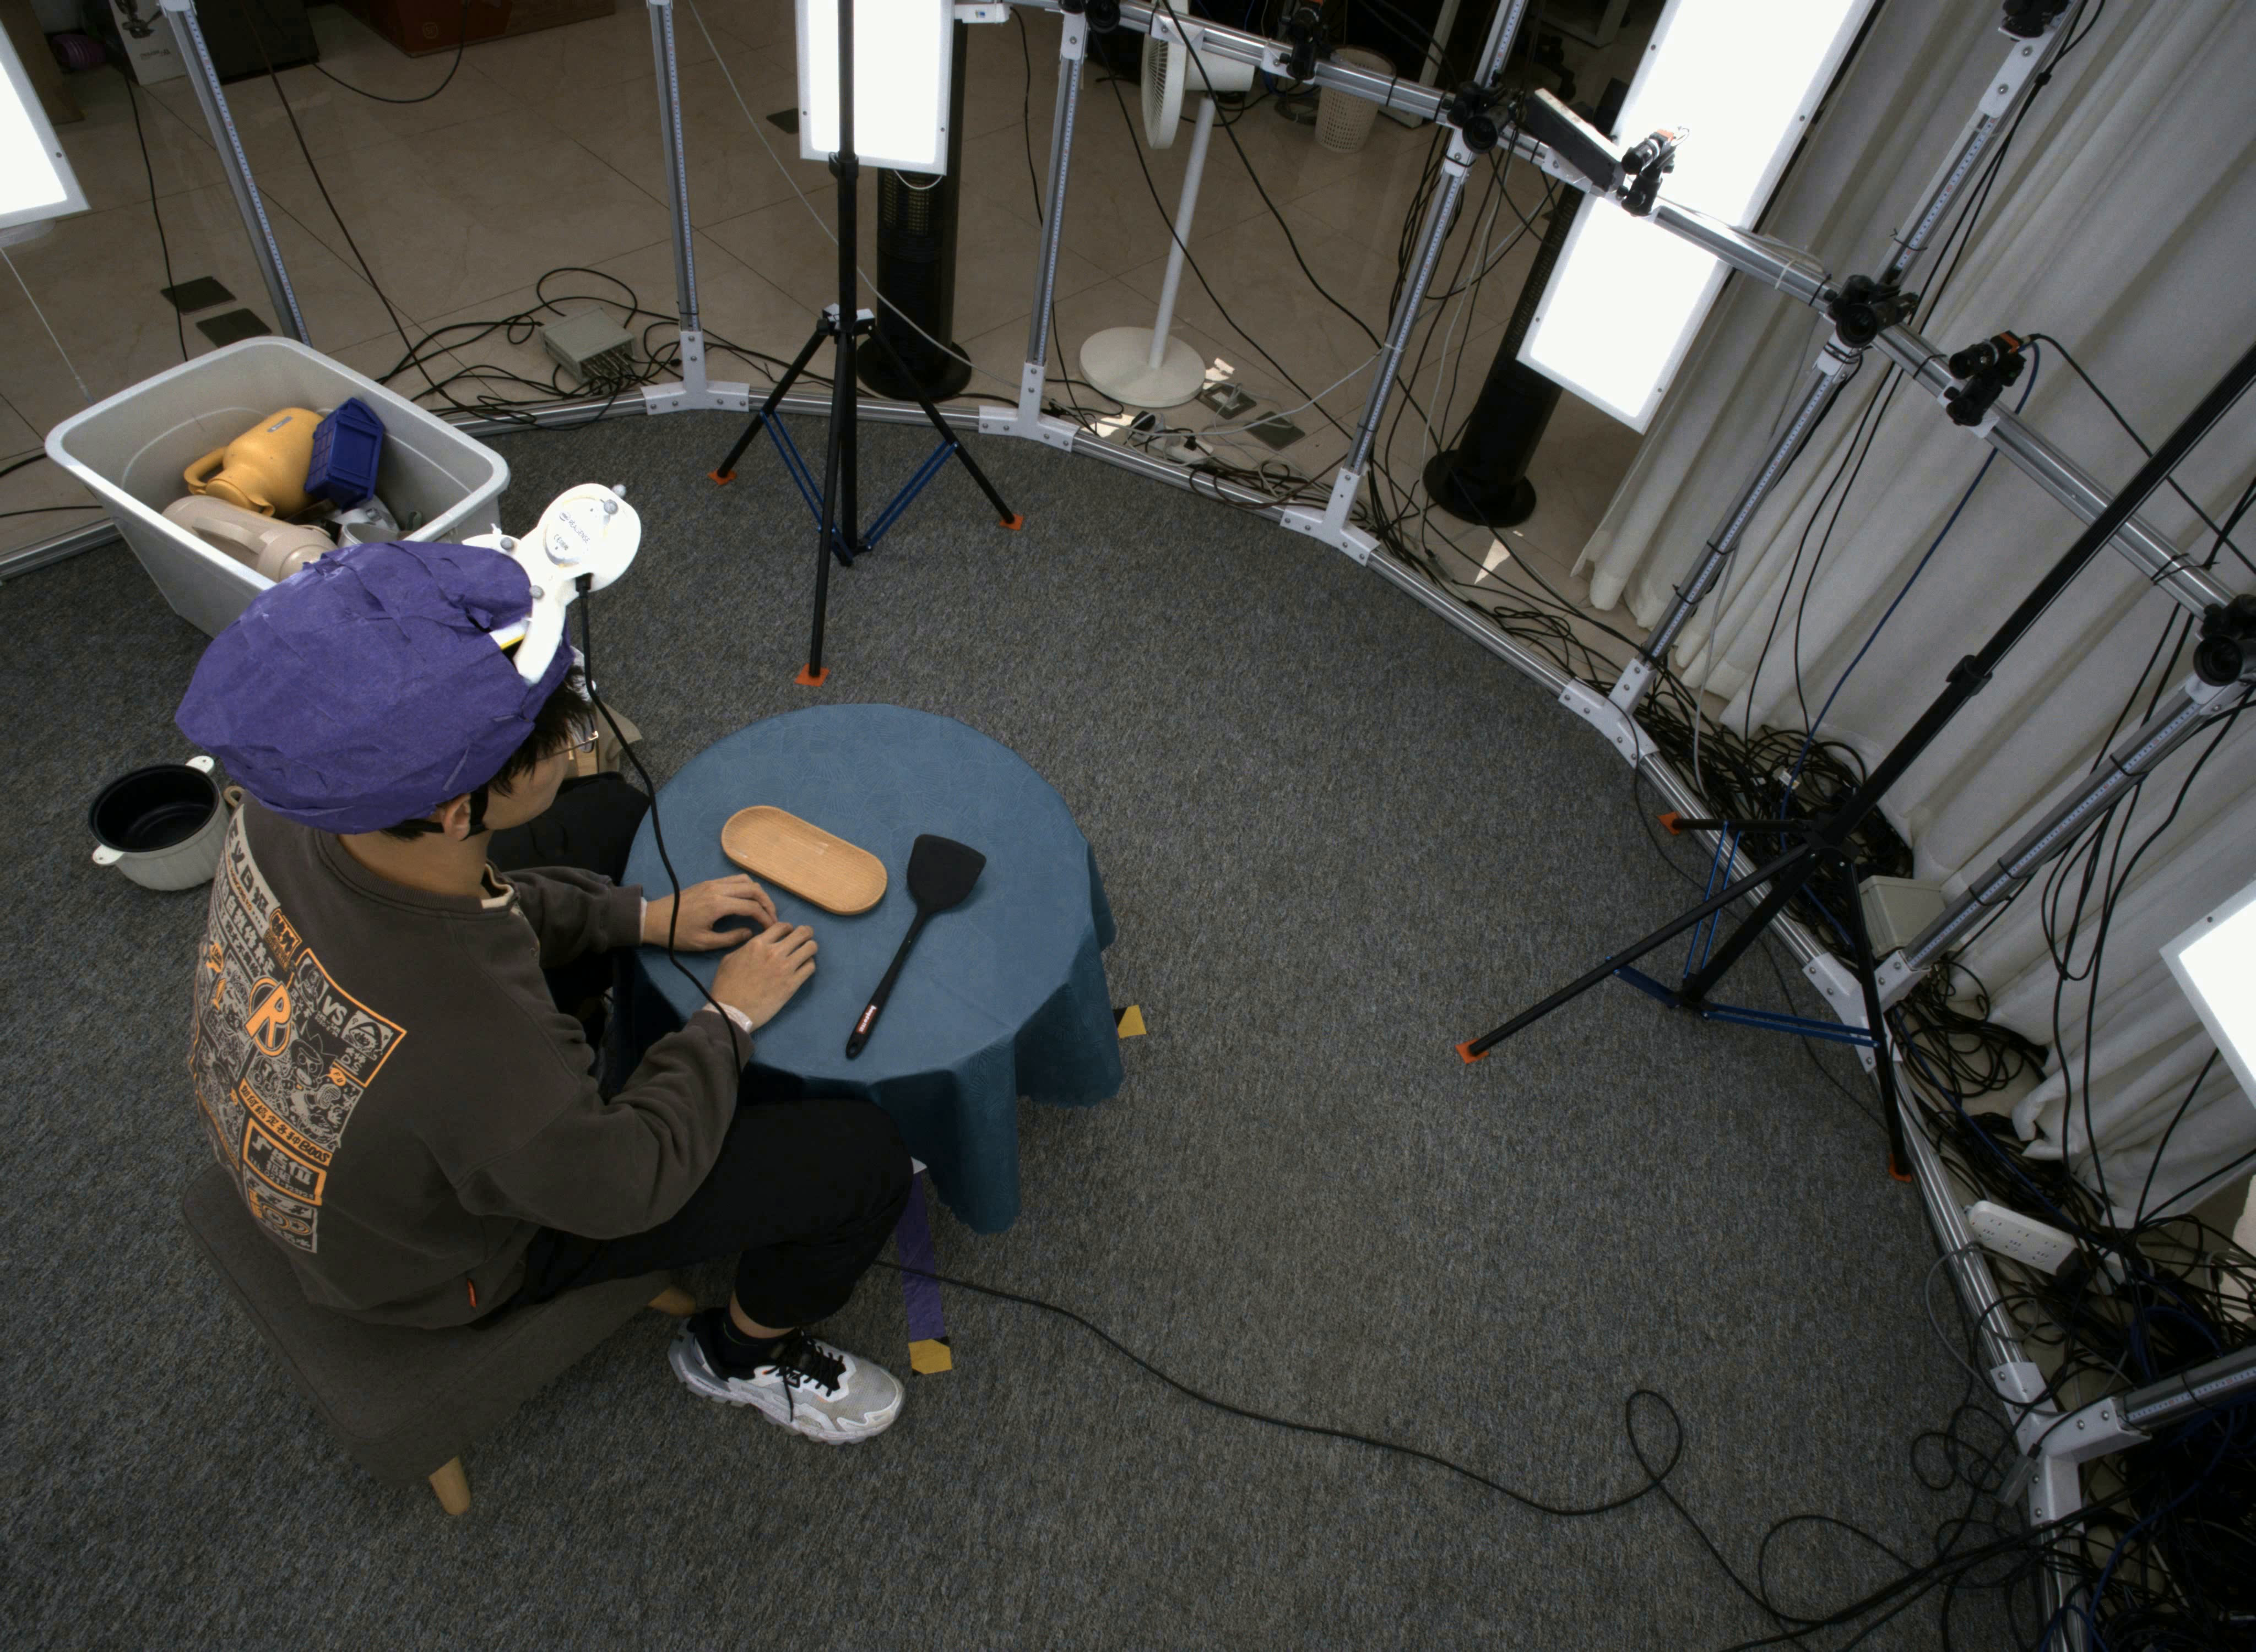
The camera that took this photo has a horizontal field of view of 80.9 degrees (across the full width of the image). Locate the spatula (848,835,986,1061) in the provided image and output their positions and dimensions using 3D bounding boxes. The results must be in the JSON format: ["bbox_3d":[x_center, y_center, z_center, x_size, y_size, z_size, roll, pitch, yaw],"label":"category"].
[{"bbox_3d":[-0.280,0.150,1.640,0.098,0.041,0.323,20,52,3],"label":"spatula"}]

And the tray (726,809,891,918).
[{"bbox_3d":[-0.418,0.047,1.696,0.228,0.021,0.101,26,53,4],"label":"tray"}]
